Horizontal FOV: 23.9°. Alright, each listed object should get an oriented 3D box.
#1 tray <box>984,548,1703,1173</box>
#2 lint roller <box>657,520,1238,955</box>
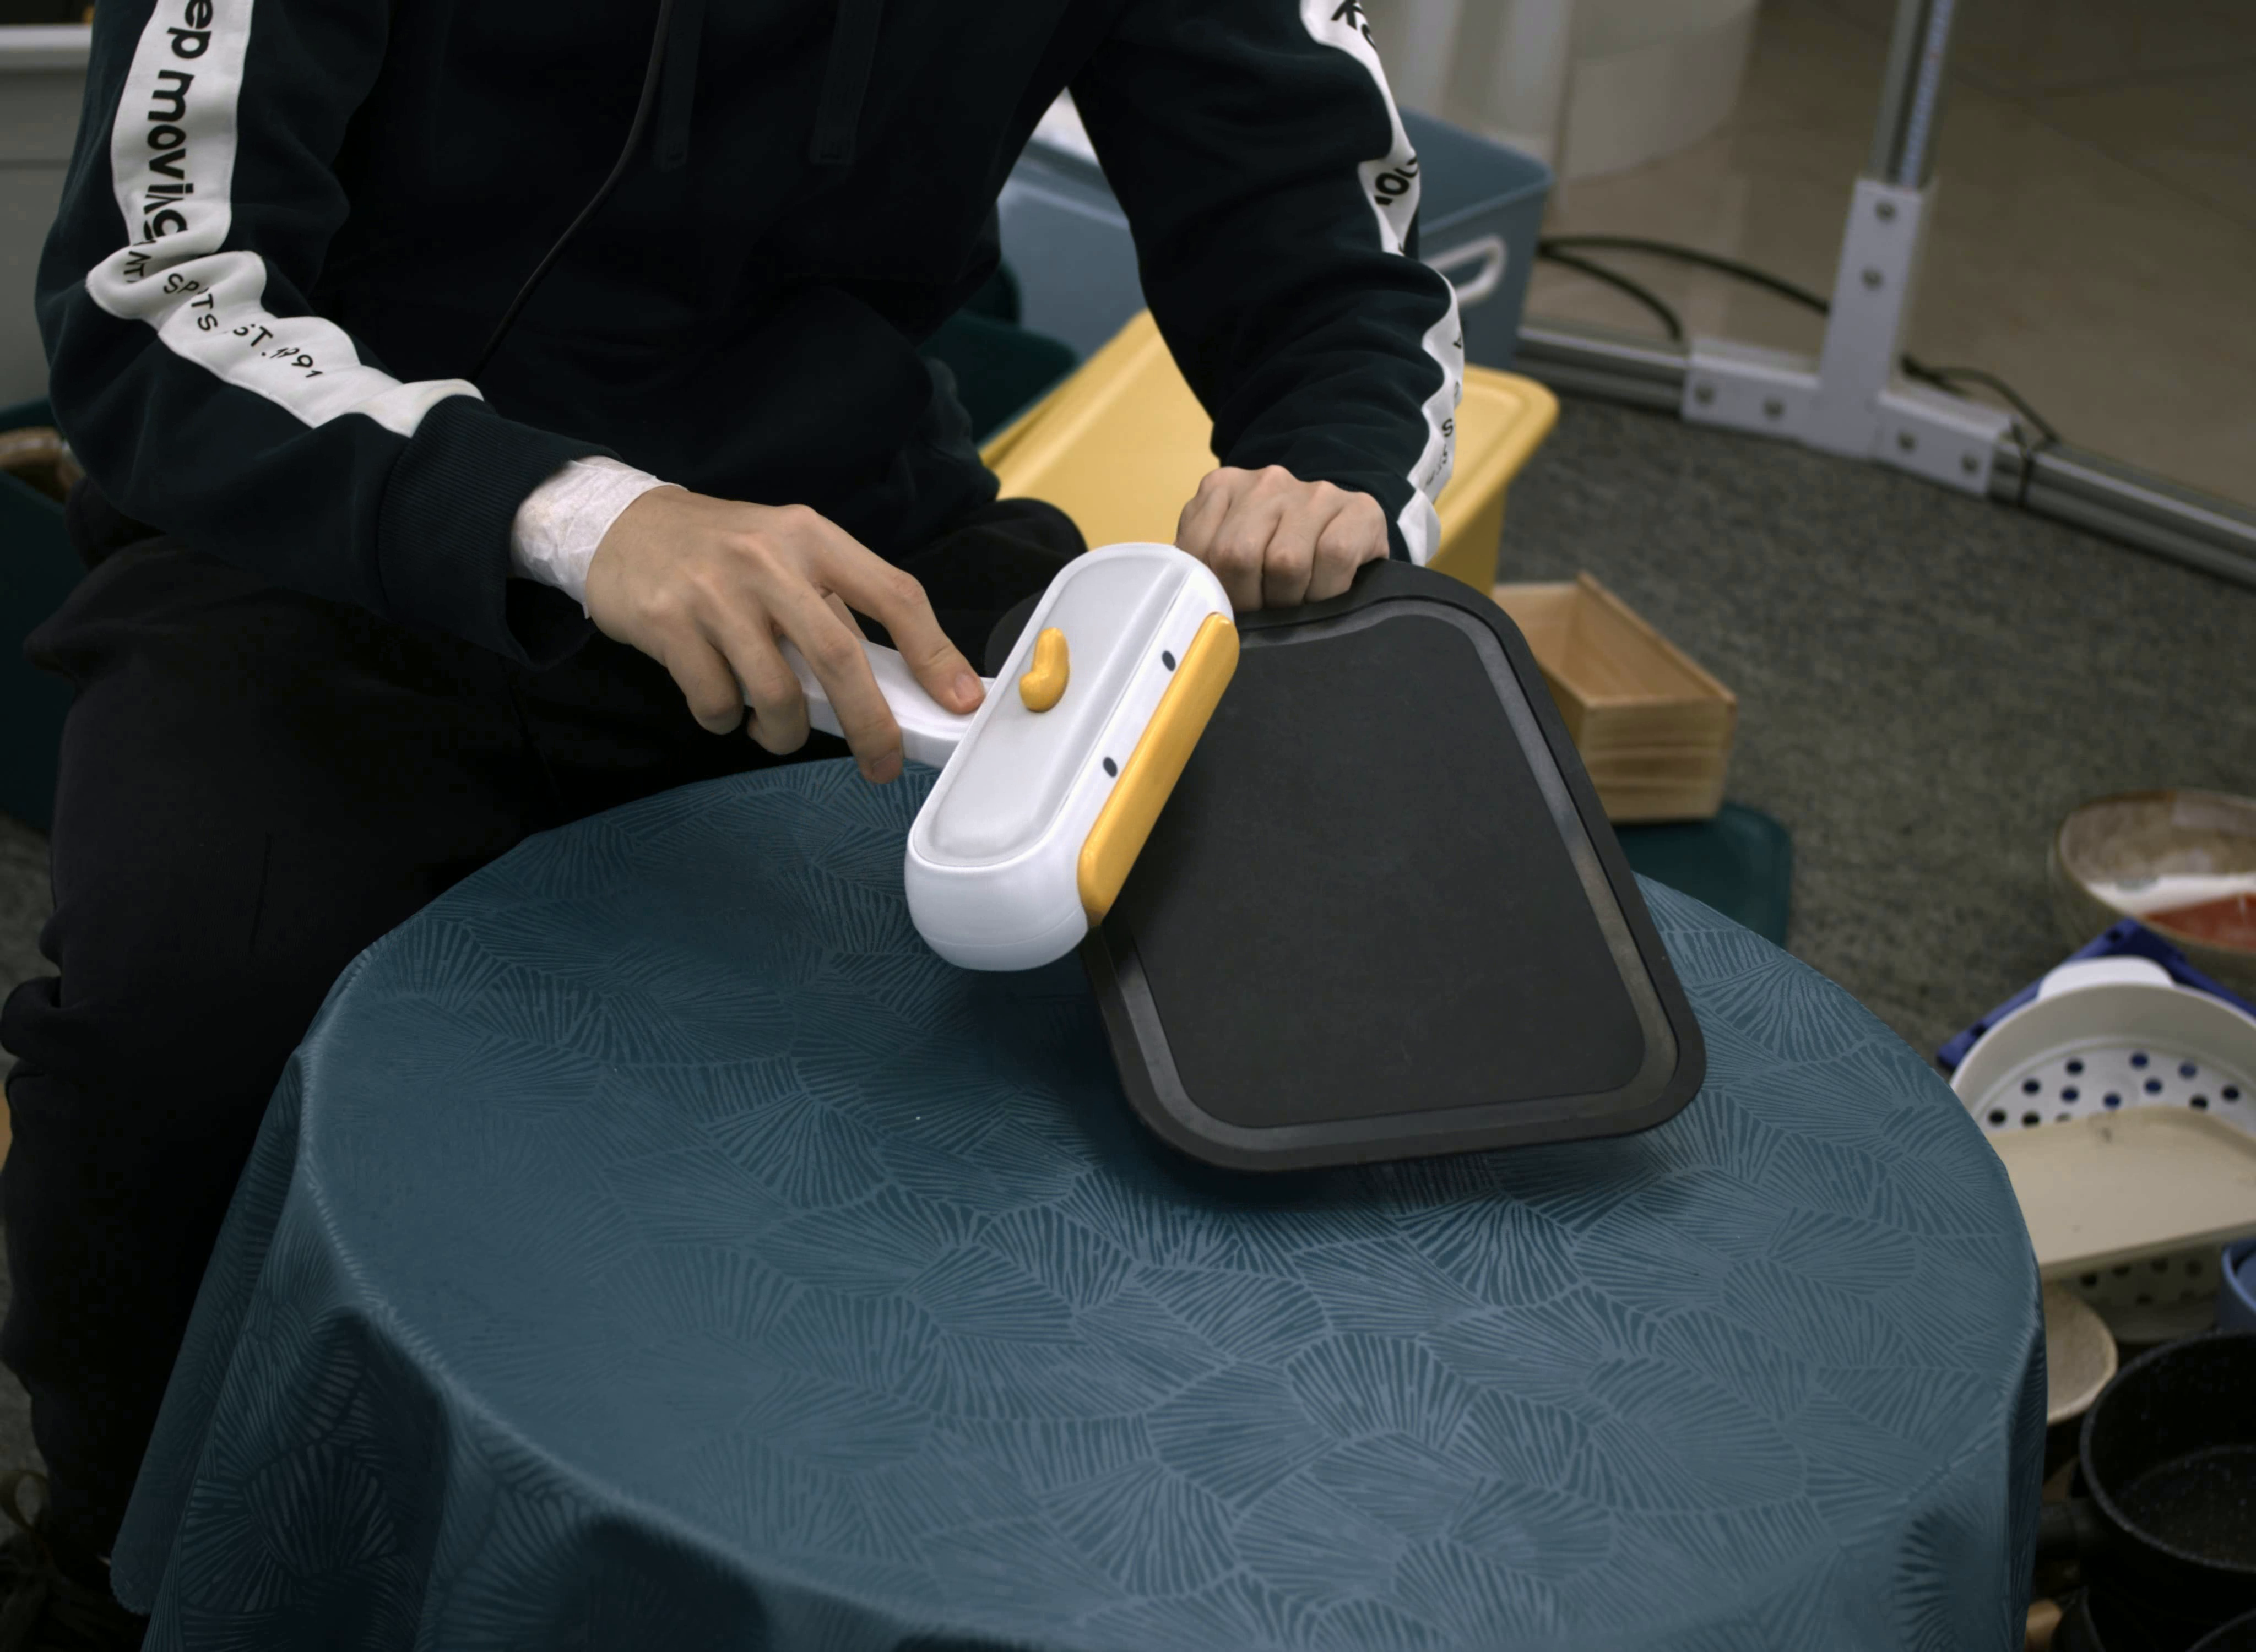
[{"bbox_3d":[0.070,0.003,1.914,0.210,0.010,0.328,-5,43,-14],"label":"tray"},{"bbox_3d":[-0.073,-0.042,1.889,0.193,0.073,0.194,5,48,19],"label":"lint roller"}]
